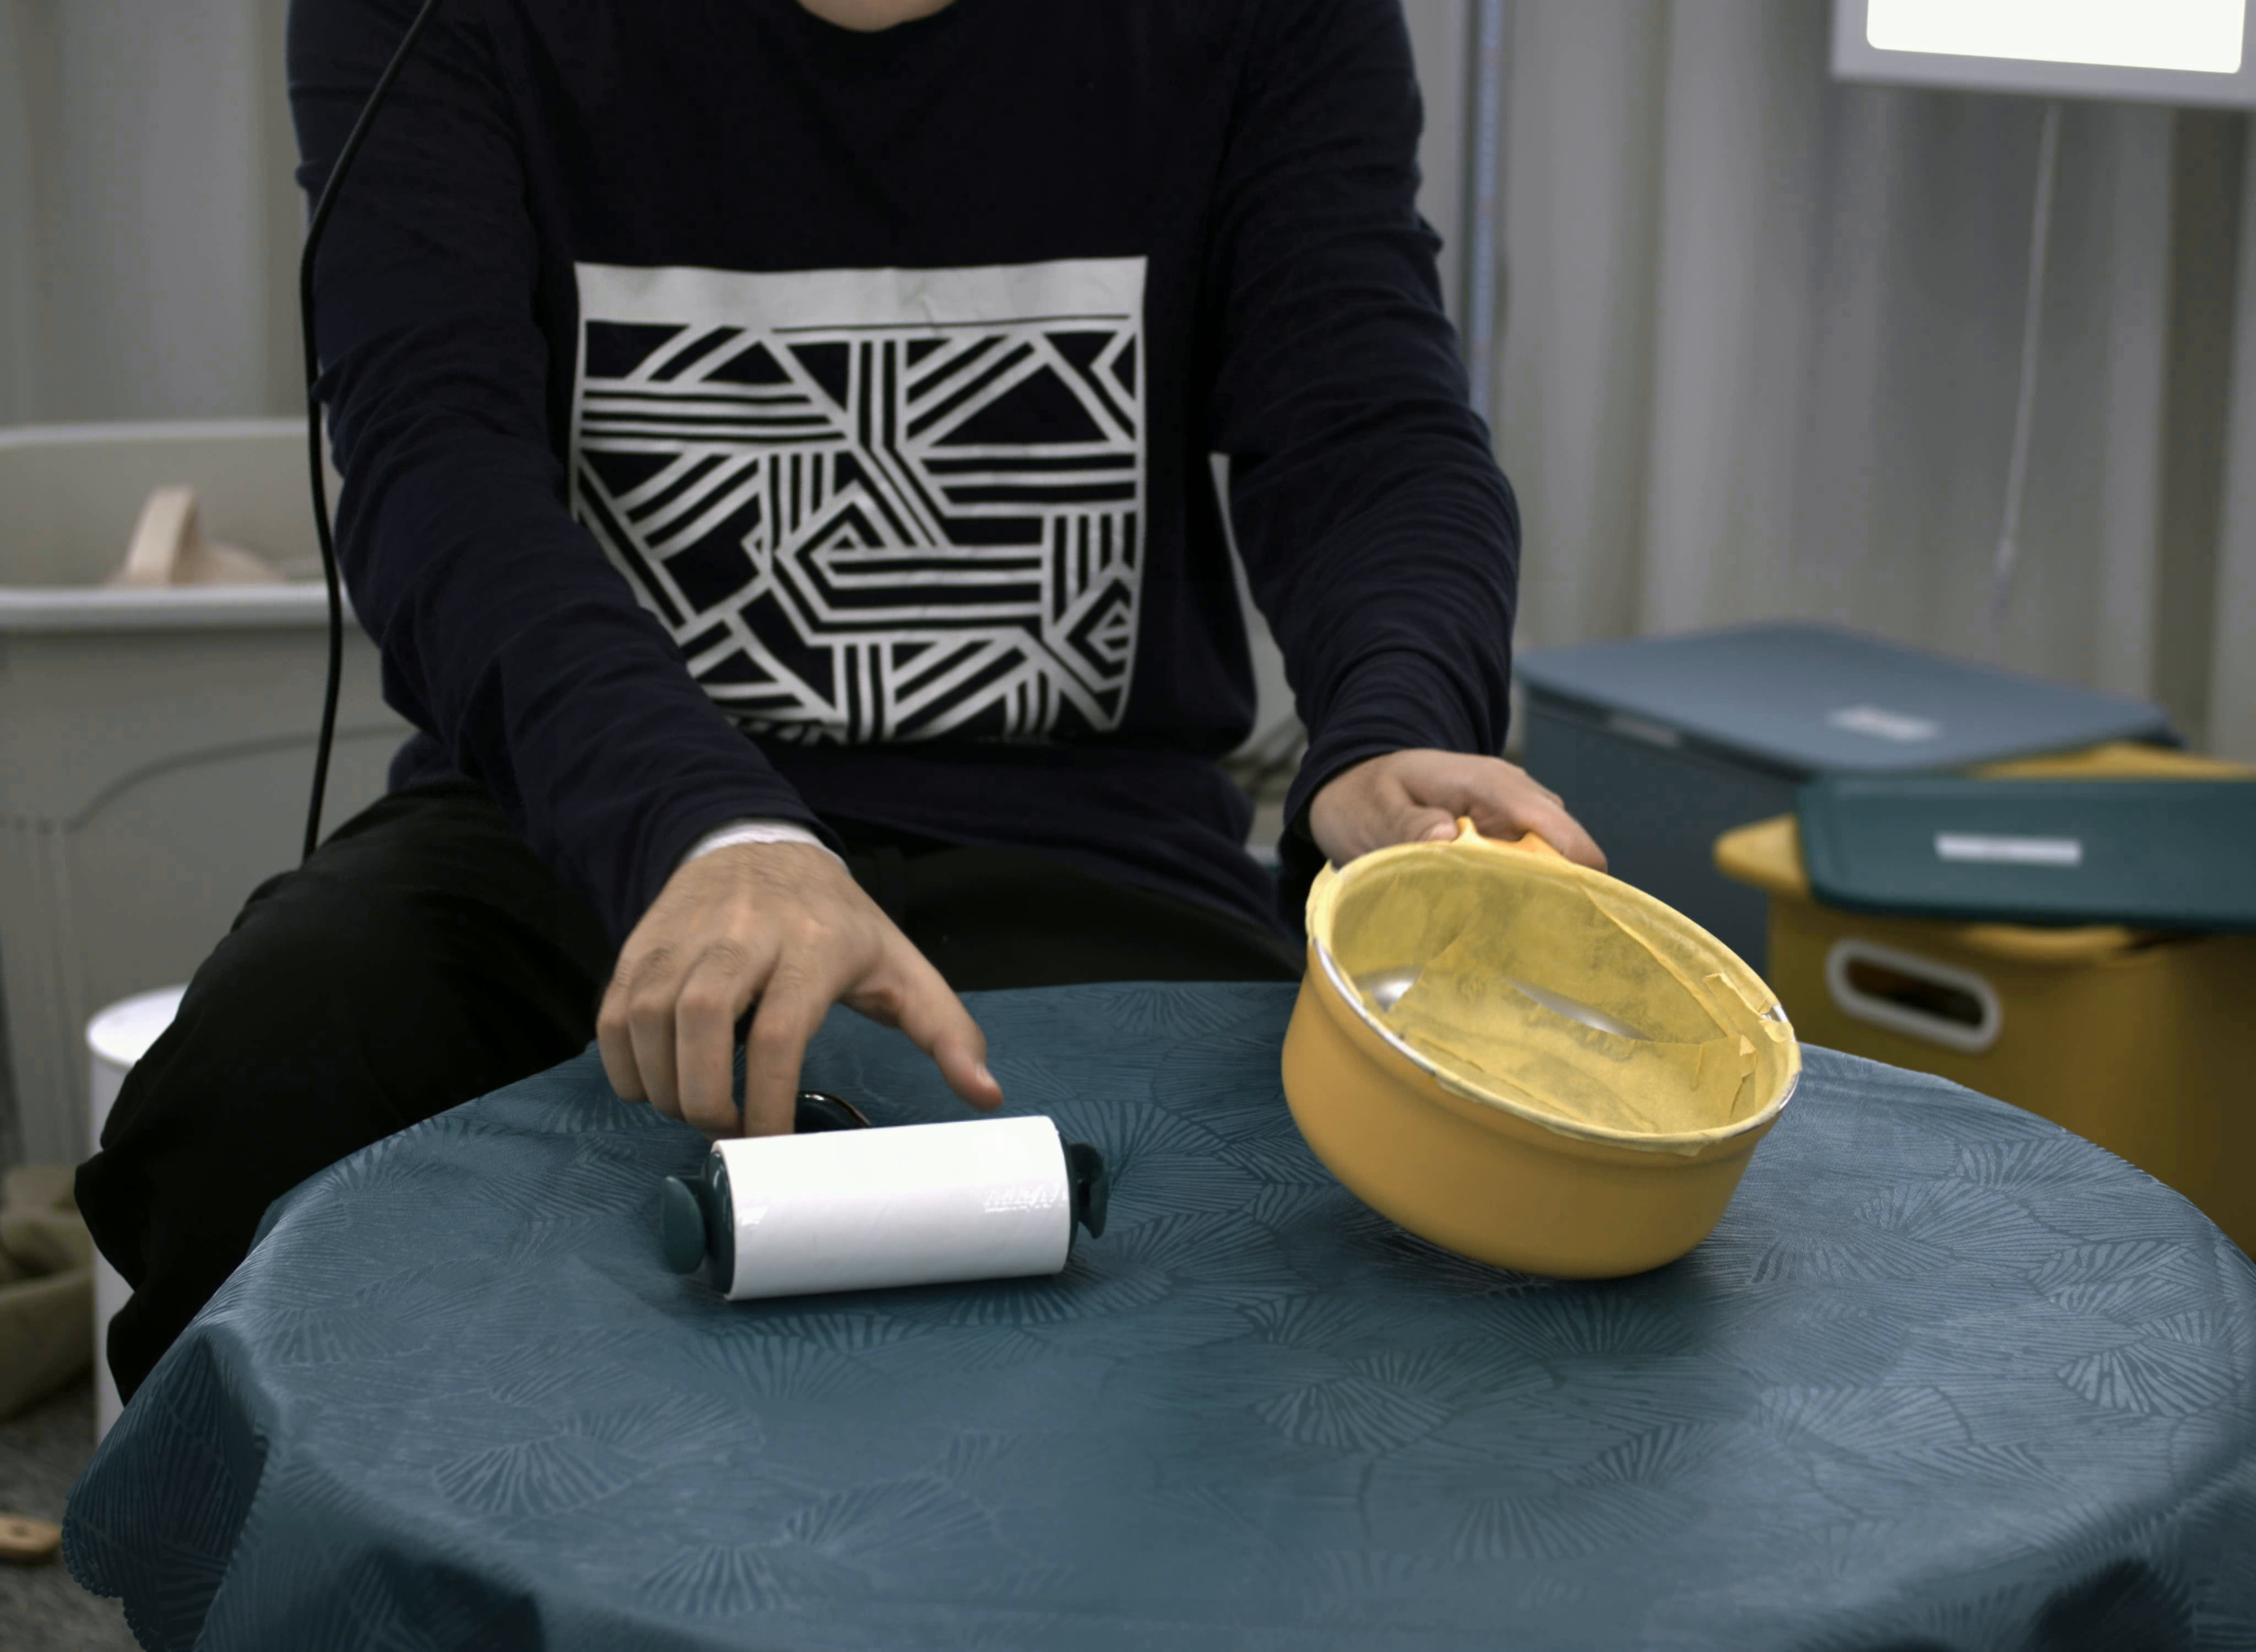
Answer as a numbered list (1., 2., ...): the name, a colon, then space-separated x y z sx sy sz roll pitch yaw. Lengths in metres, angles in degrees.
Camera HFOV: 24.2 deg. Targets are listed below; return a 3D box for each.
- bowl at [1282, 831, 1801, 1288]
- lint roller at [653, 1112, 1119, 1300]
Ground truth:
1. bowl: 0.118 0.070 1.592 0.153 0.075 0.177 7 31 -20
2. lint roller: -0.088 0.099 1.599 0.134 0.048 0.178 -4 12 -14
